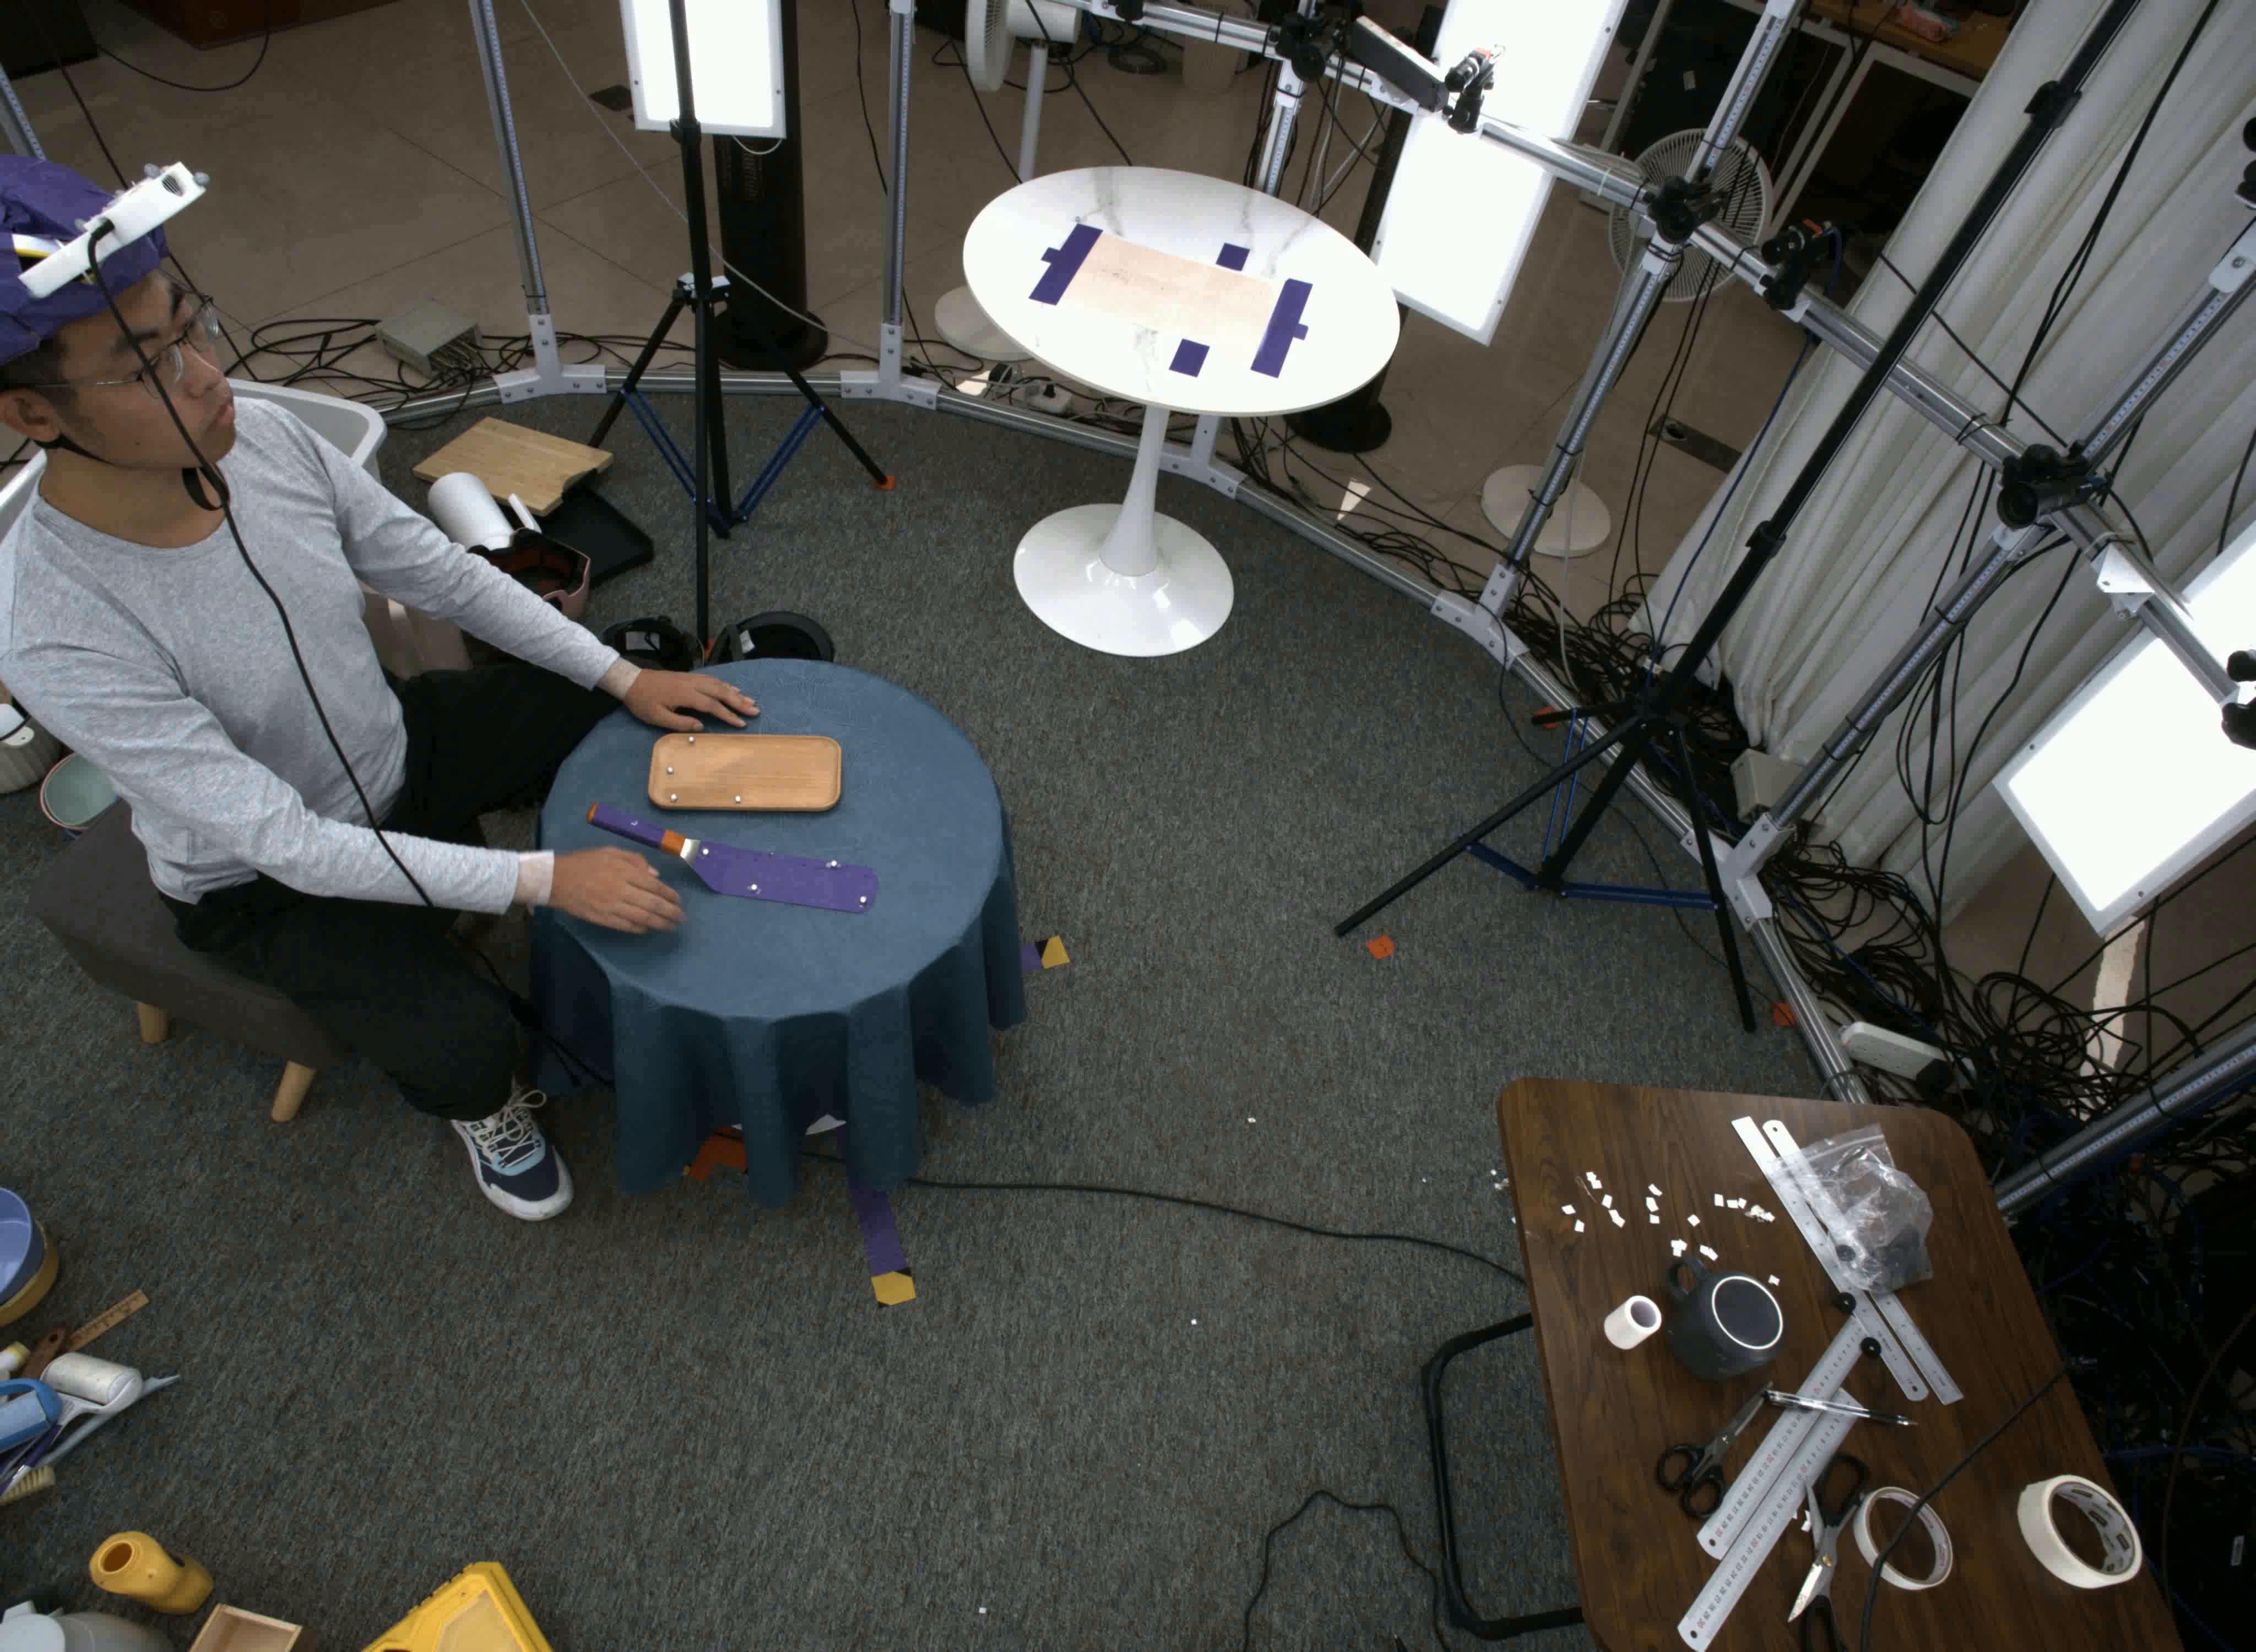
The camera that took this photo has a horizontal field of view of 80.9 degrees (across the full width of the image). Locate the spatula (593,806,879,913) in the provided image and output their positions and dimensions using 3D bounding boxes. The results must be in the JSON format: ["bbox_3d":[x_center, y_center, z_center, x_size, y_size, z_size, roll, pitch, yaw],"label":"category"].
[{"bbox_3d":[-0.494,0.034,1.632,0.367,0.086,0.074,26,45,-27],"label":"spatula"}]

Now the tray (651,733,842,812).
[{"bbox_3d":[-0.513,-0.073,1.746,0.251,0.023,0.128,1,57,-14],"label":"tray"}]
